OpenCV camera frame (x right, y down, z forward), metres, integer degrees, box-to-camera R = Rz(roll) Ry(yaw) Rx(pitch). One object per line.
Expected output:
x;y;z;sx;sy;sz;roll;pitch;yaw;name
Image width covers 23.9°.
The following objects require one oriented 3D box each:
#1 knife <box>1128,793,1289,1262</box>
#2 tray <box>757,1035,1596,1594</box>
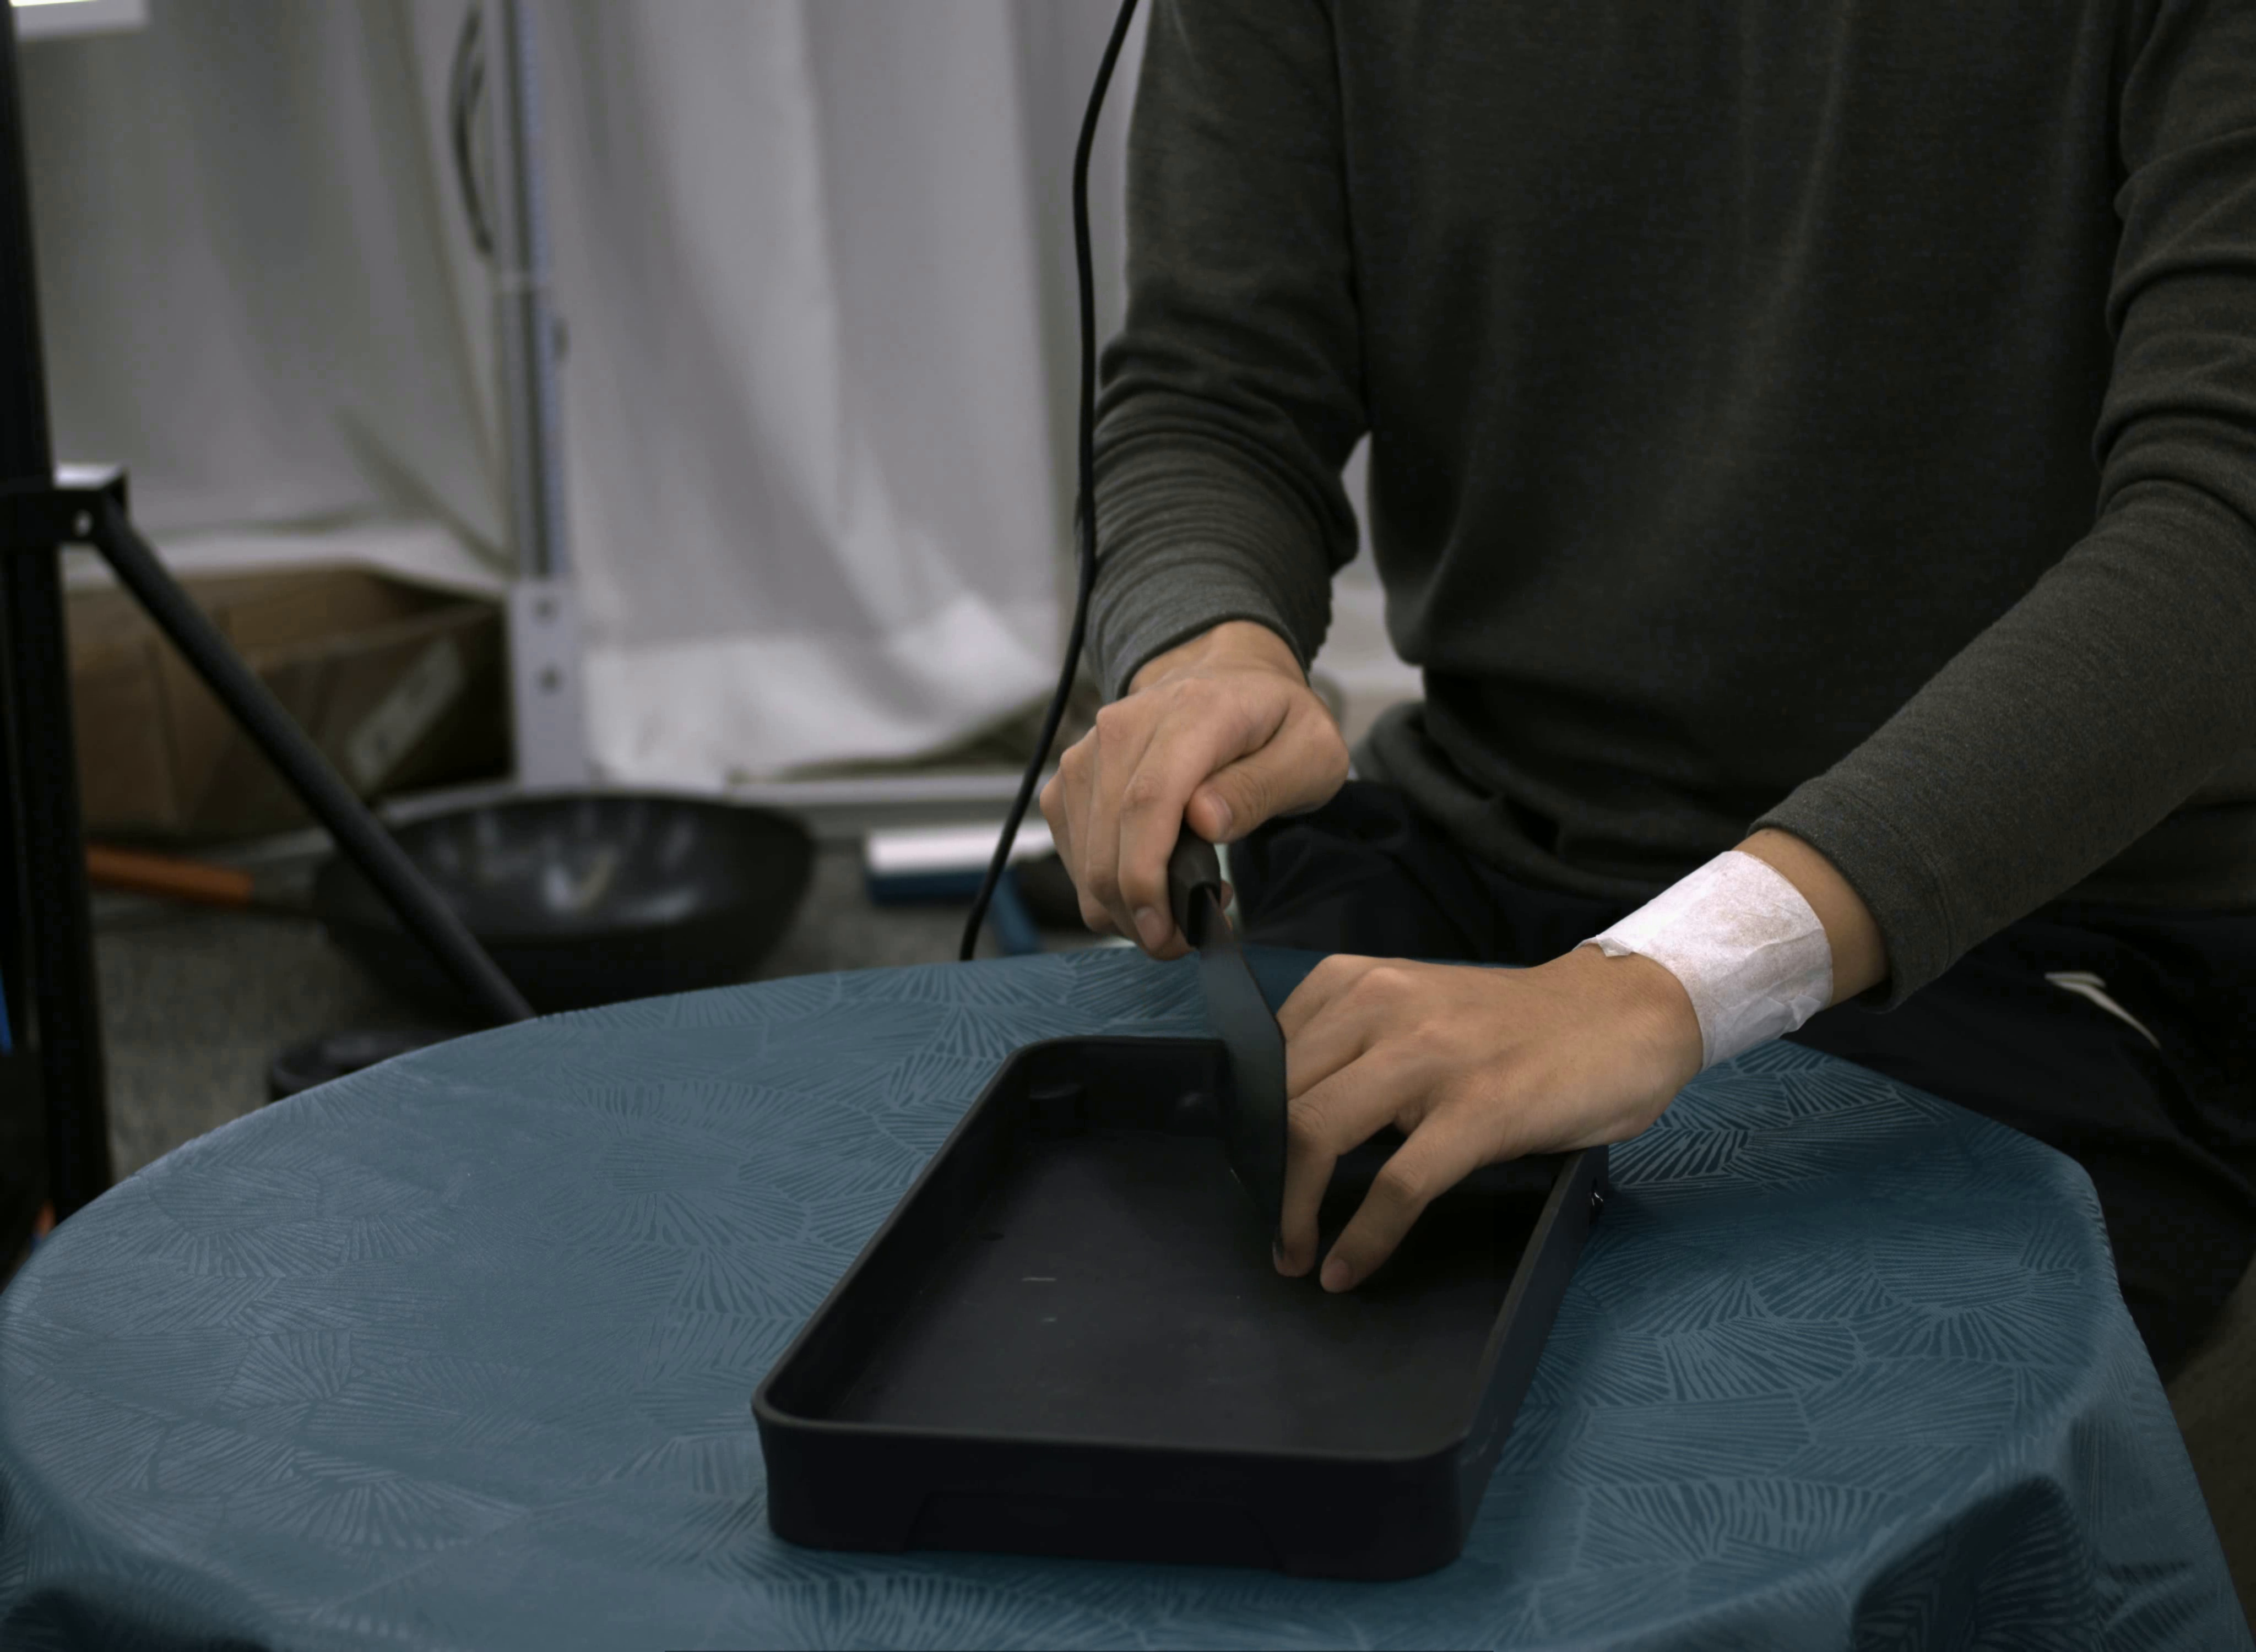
0.025;0.049;1.506;0.020;0.081;0.305;0;17;-6;knife
0.022;0.124;1.434;0.185;0.037;0.316;1;16;11;tray
